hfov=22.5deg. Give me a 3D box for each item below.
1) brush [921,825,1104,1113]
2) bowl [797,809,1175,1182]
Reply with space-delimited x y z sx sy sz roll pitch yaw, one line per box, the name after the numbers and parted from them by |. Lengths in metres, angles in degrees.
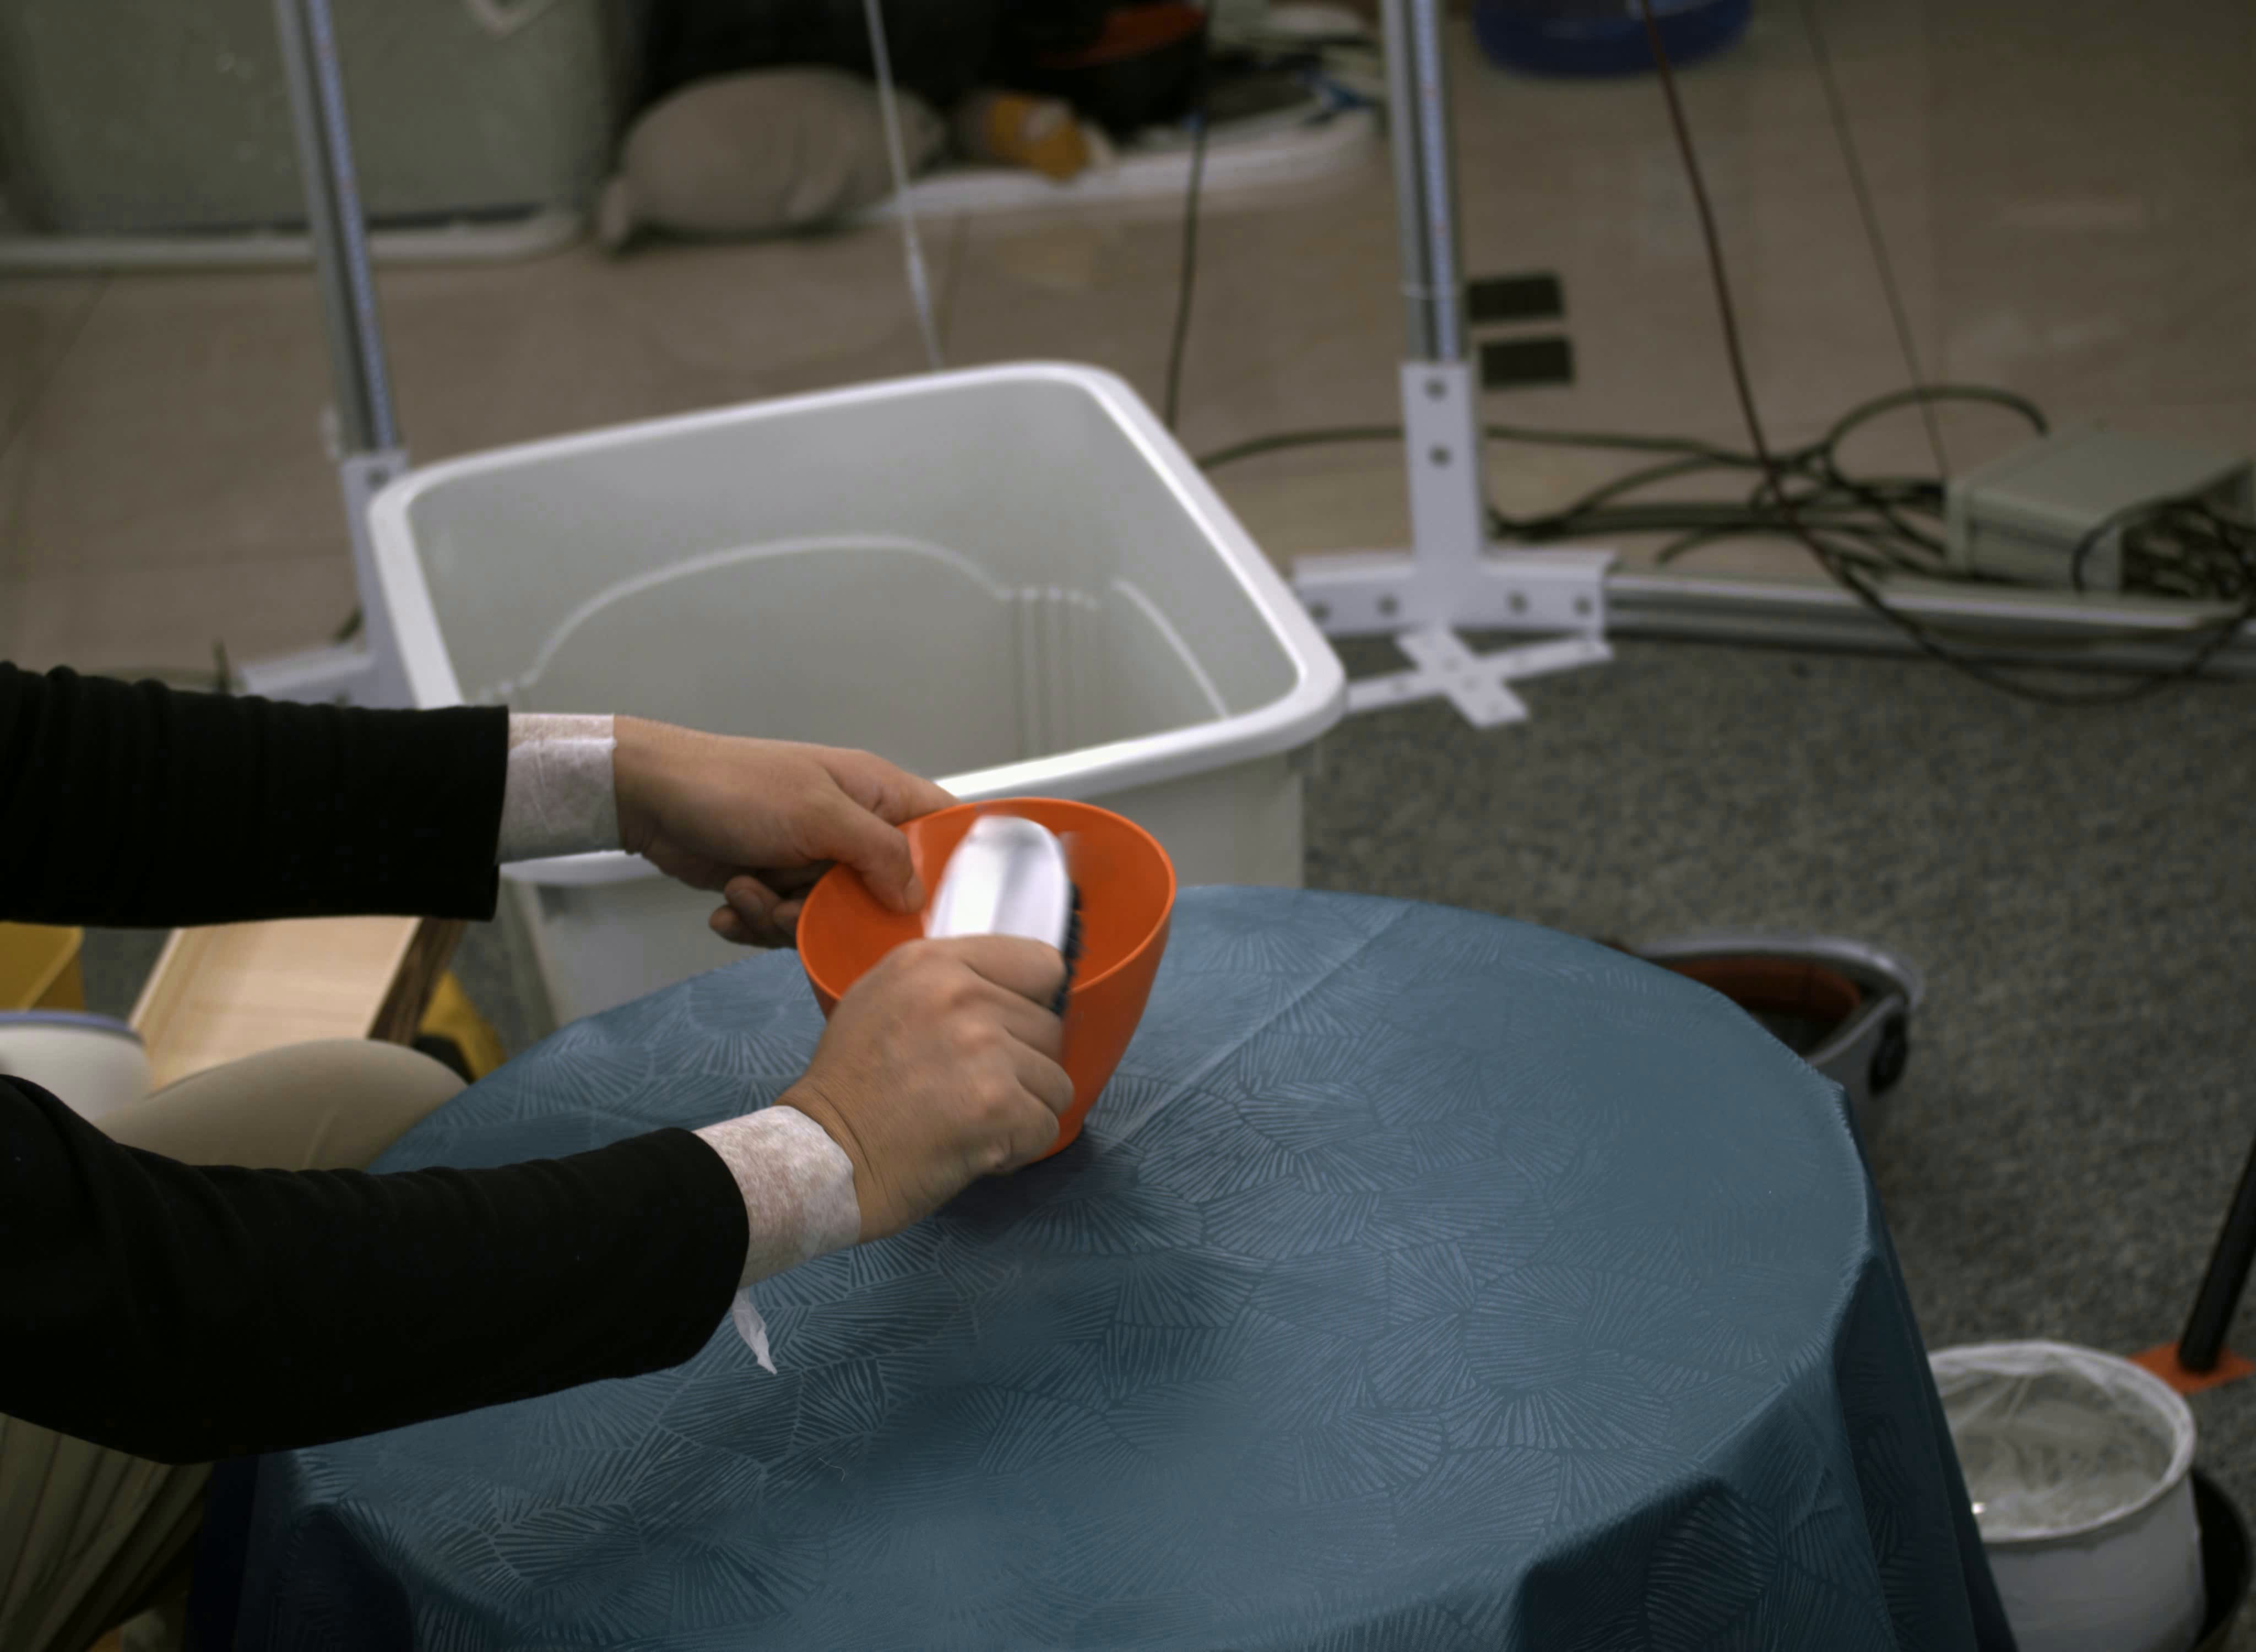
-0.045 0.046 2.047 0.050 0.073 0.098 14 73 14 | brush
-0.050 0.072 2.189 0.148 0.106 0.146 -6 25 3 | bowl
